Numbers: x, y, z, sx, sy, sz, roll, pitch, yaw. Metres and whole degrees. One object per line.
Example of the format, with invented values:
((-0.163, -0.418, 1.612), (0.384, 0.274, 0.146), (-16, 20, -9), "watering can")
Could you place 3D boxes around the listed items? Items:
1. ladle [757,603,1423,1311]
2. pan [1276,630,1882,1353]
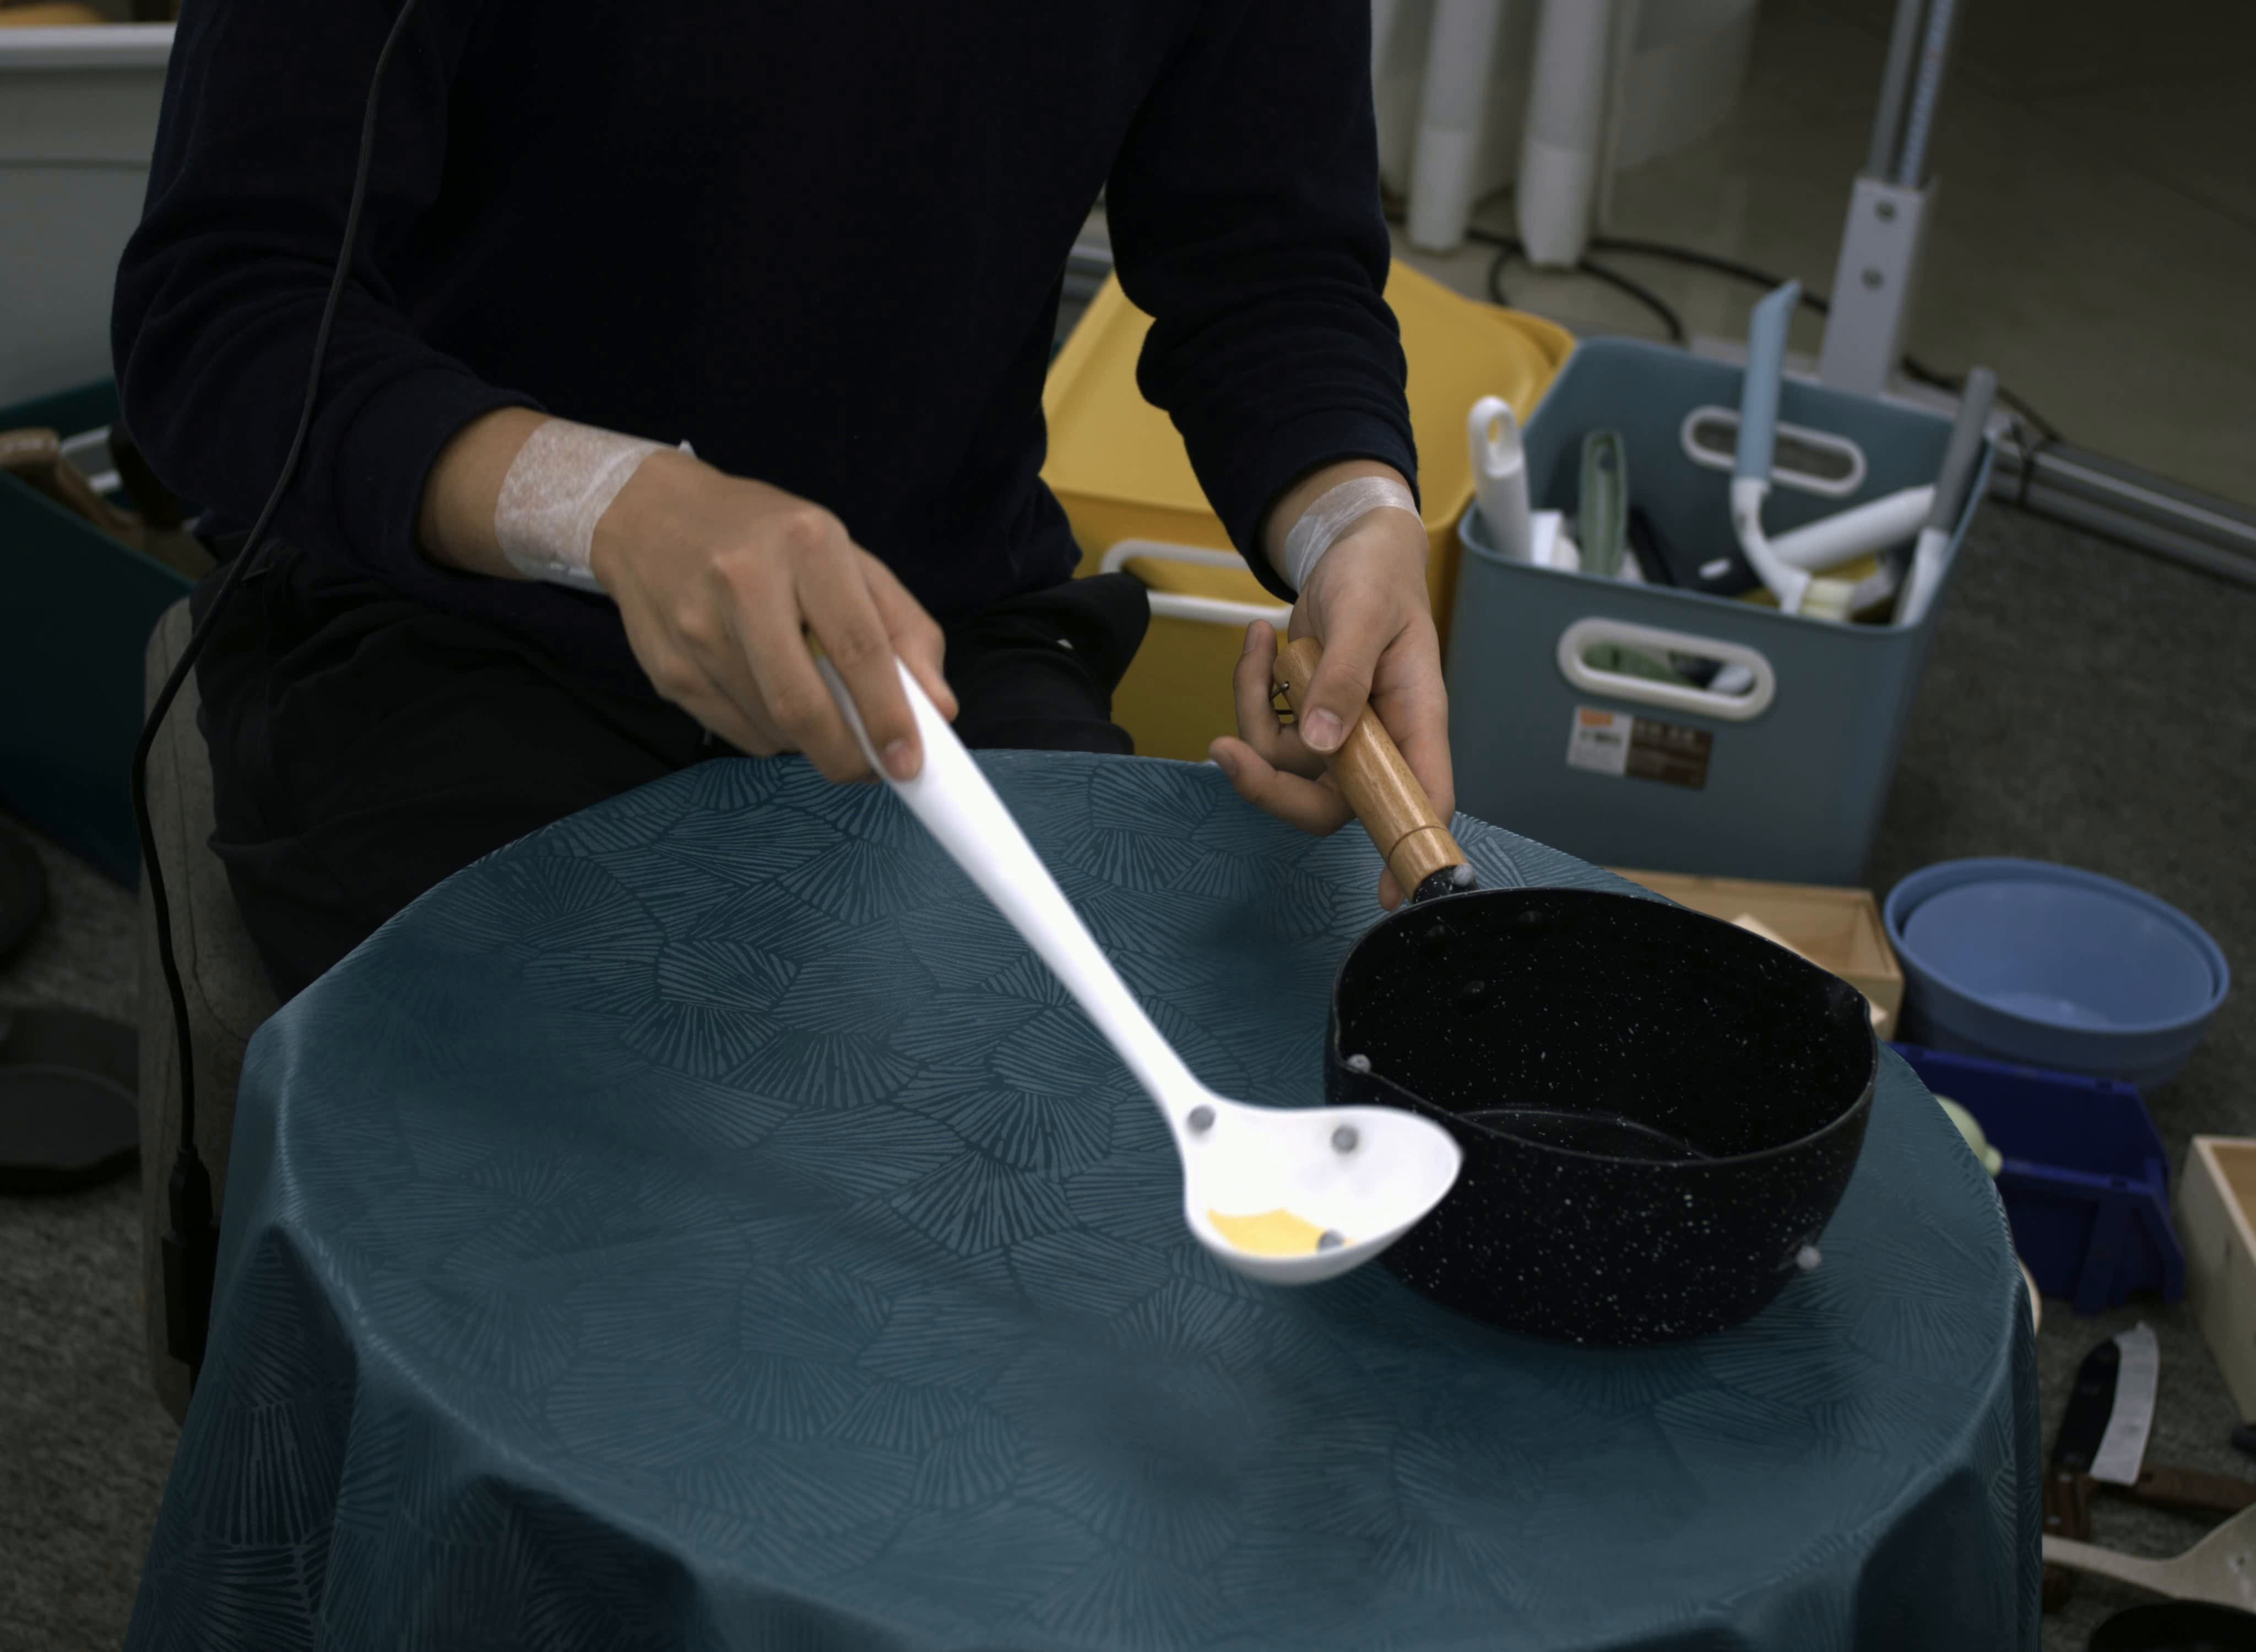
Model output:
((-0.021, 0.036, 1.685), (0.090, 0.069, 0.295), (-30, 70, -23), "ladle")
((0.123, 0.054, 1.847), (0.206, 0.108, 0.346), (-7, 31, -23), "pan")
